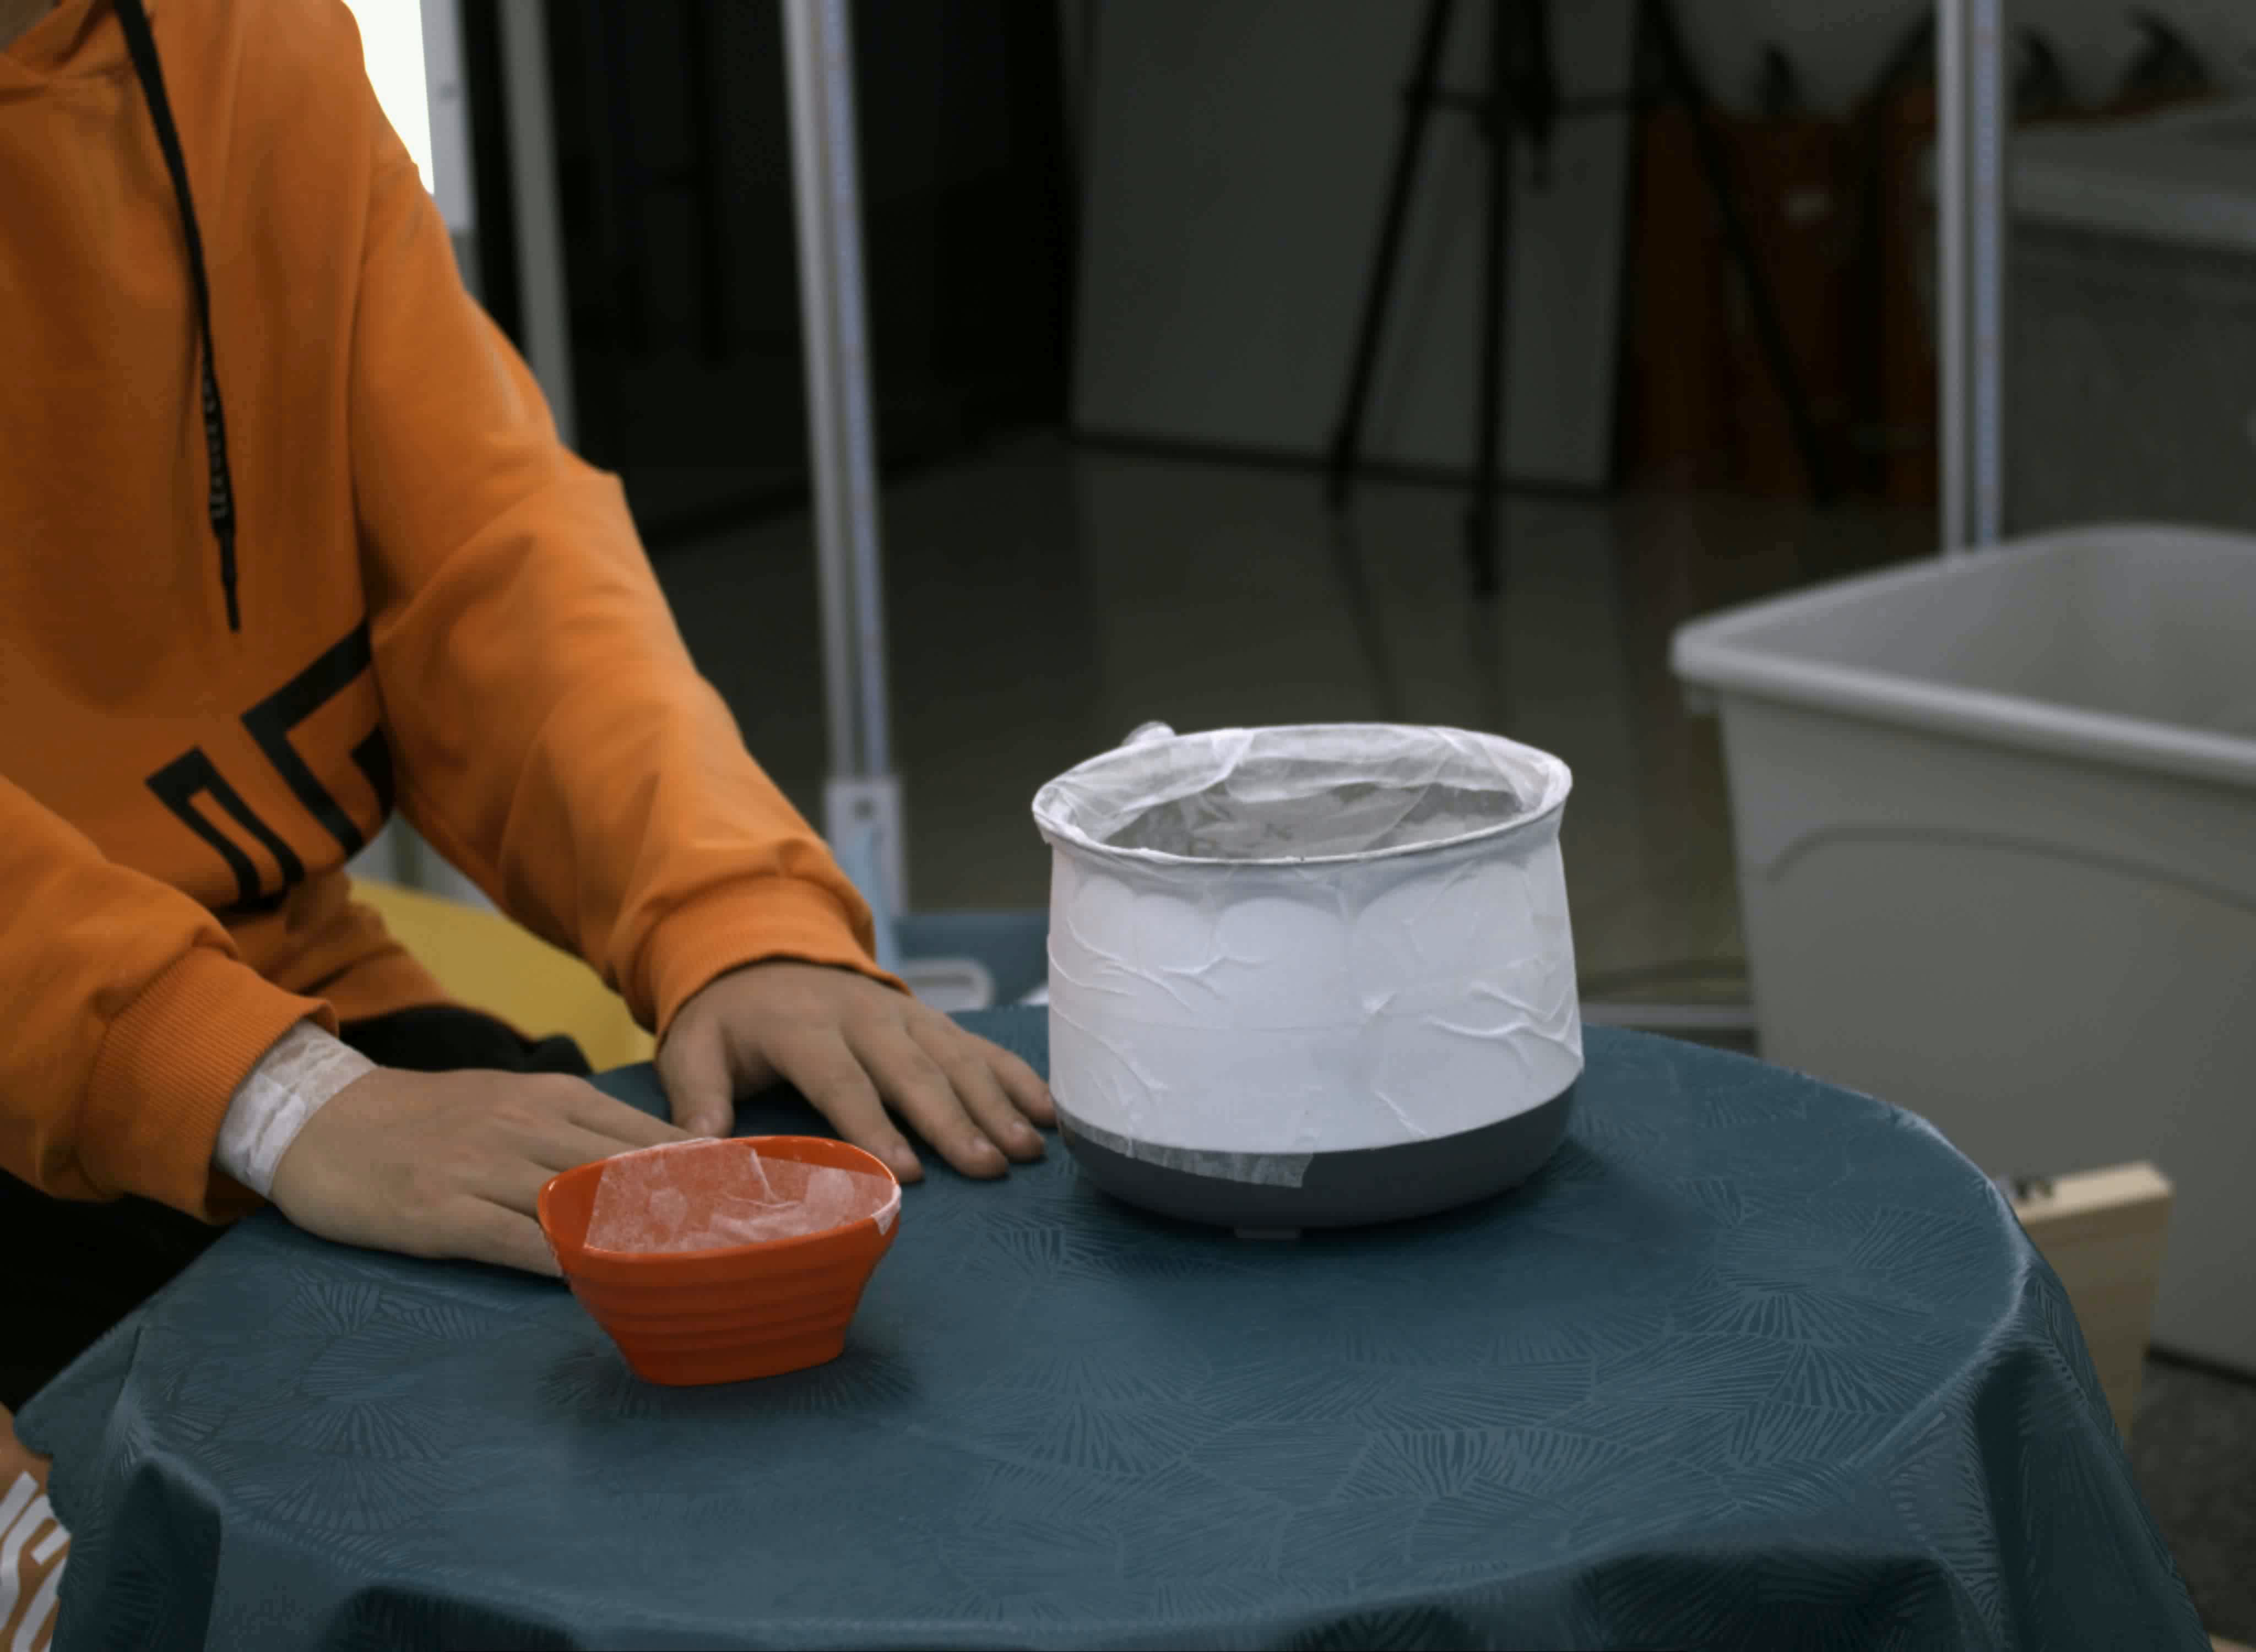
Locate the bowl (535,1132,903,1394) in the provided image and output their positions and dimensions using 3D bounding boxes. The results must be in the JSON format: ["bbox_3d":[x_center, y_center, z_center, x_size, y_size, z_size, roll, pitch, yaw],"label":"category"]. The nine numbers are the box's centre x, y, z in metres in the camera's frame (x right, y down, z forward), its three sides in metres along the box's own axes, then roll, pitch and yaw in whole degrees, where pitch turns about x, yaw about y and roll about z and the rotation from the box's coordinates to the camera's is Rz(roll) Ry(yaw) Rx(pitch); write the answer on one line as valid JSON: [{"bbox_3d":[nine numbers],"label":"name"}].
[{"bbox_3d":[-0.122,0.135,1.644,0.117,0.052,0.119,-5,15,0],"label":"bowl"}]

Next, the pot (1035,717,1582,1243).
[{"bbox_3d":[0.046,0.044,1.783,0.175,0.138,0.236,-11,15,-28],"label":"pot"}]
